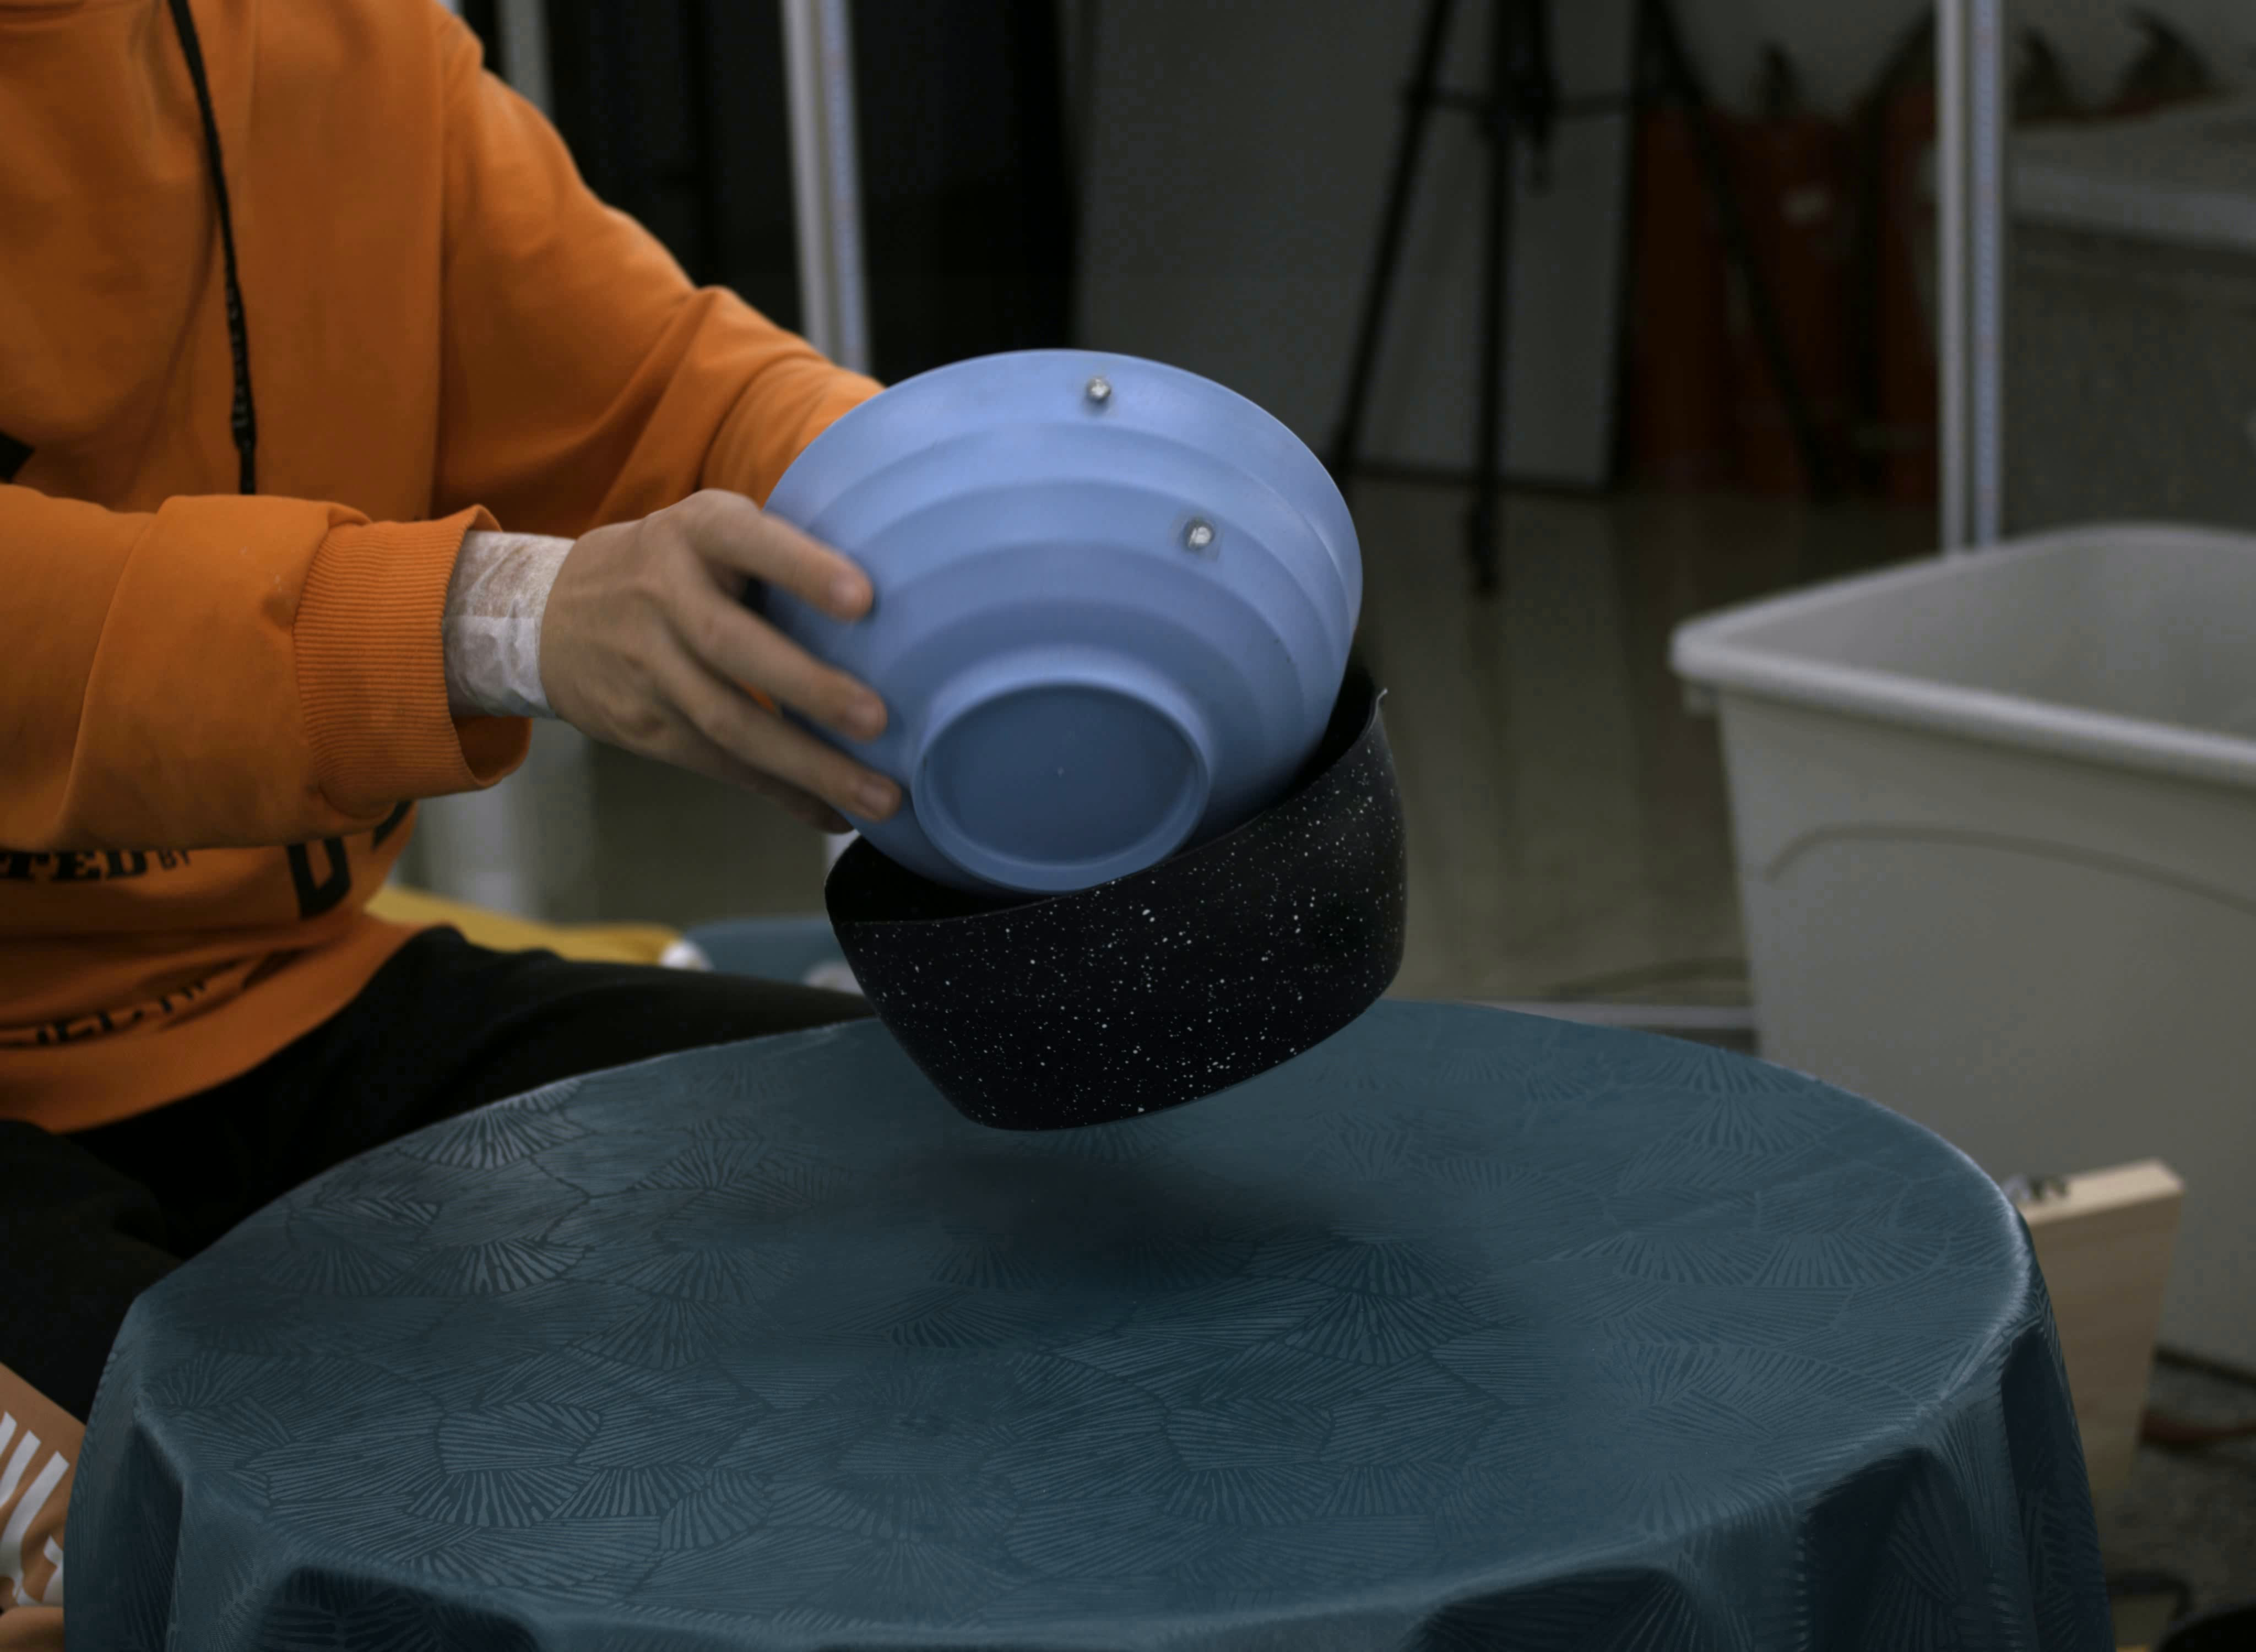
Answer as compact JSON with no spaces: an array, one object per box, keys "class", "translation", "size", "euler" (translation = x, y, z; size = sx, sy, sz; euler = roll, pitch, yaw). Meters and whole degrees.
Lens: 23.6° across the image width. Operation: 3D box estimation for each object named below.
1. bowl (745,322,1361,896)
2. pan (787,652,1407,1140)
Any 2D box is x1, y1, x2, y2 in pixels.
[{"class":"bowl","translation":[-0.023,-0.047,1.668],"size":[0.194,0.197,0.096],"euler":[-3,40,3]},{"class":"pan","translation":[-0.024,0.001,1.776],"size":[0.205,0.109,0.345],"euler":[-25,18,-11]}]
